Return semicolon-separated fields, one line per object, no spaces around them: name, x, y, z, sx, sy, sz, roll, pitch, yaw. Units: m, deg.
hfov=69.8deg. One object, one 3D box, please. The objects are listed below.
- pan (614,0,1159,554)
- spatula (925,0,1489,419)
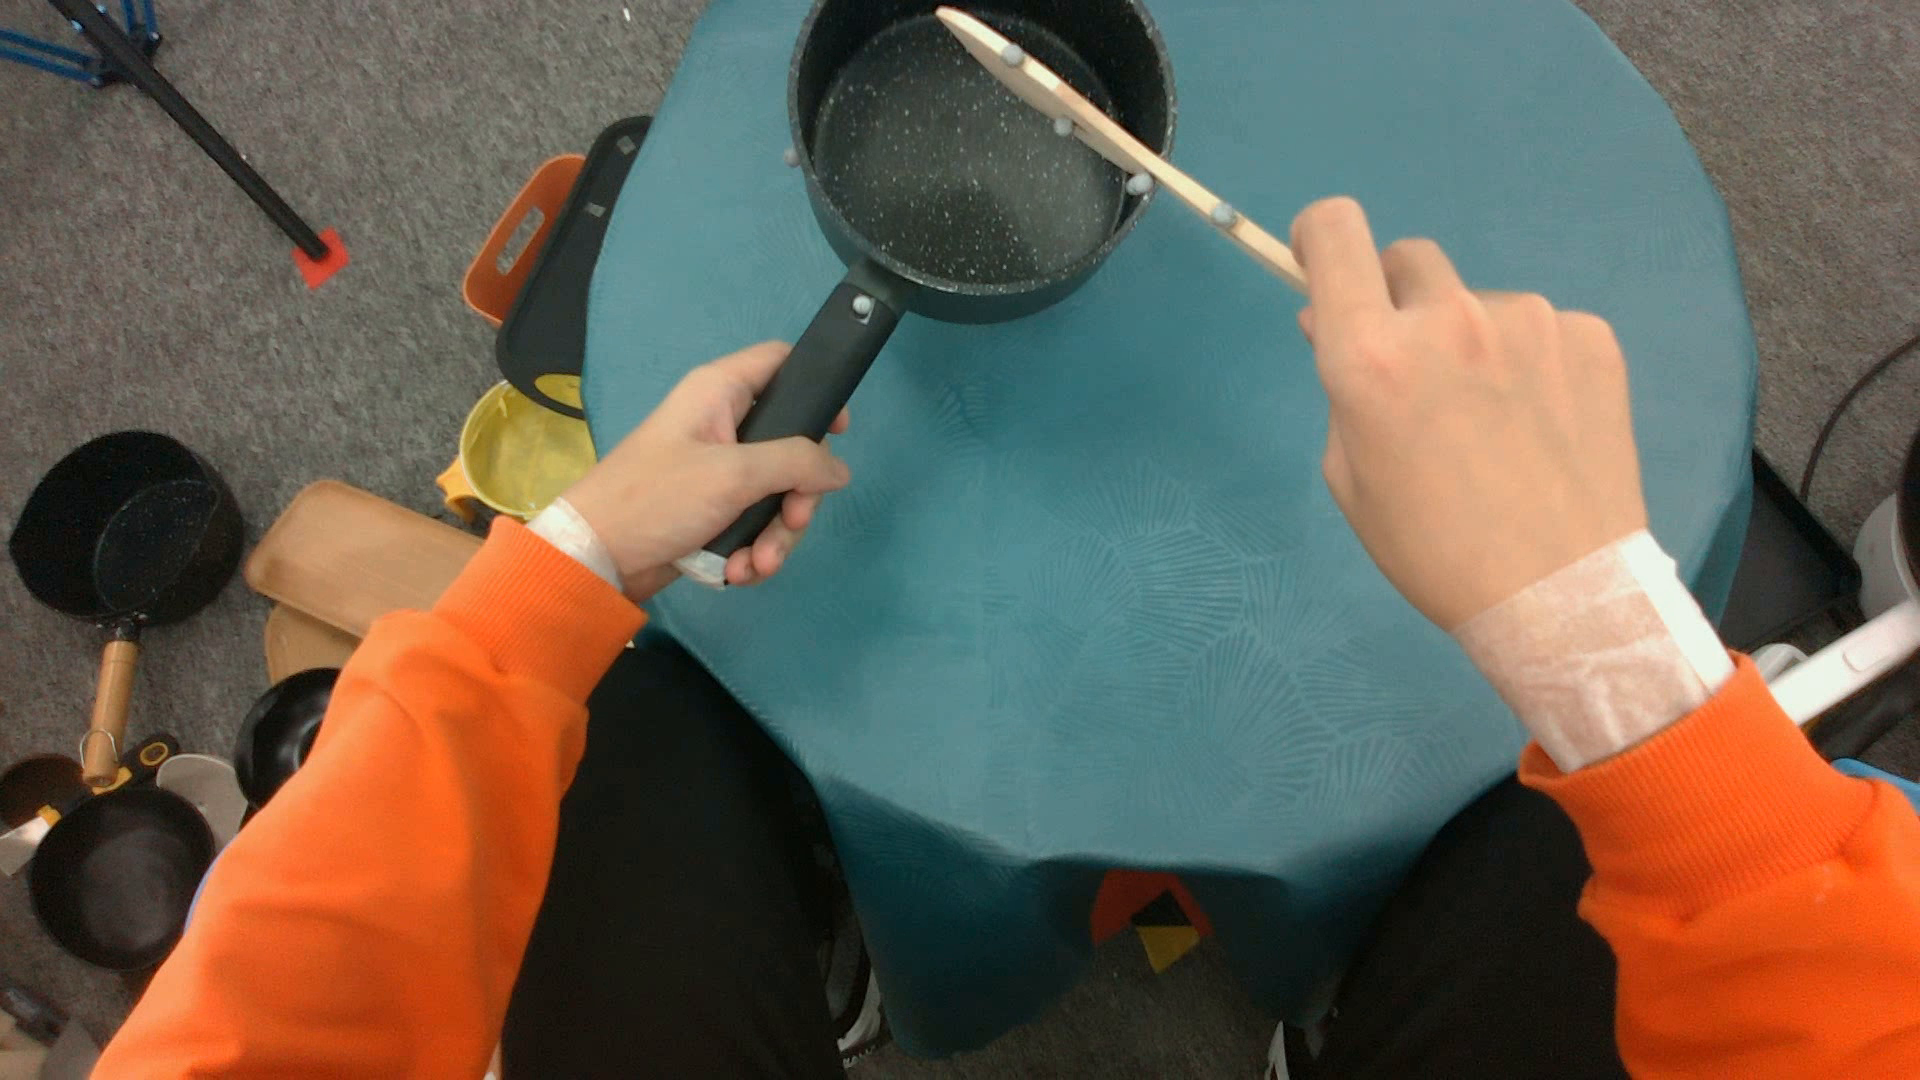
pan;-0.043;-0.131;0.623;0.172;0.086;0.329;33;80;0
spatula;0.082;-0.131;0.510;0.010;0.072;0.293;-49;54;9
